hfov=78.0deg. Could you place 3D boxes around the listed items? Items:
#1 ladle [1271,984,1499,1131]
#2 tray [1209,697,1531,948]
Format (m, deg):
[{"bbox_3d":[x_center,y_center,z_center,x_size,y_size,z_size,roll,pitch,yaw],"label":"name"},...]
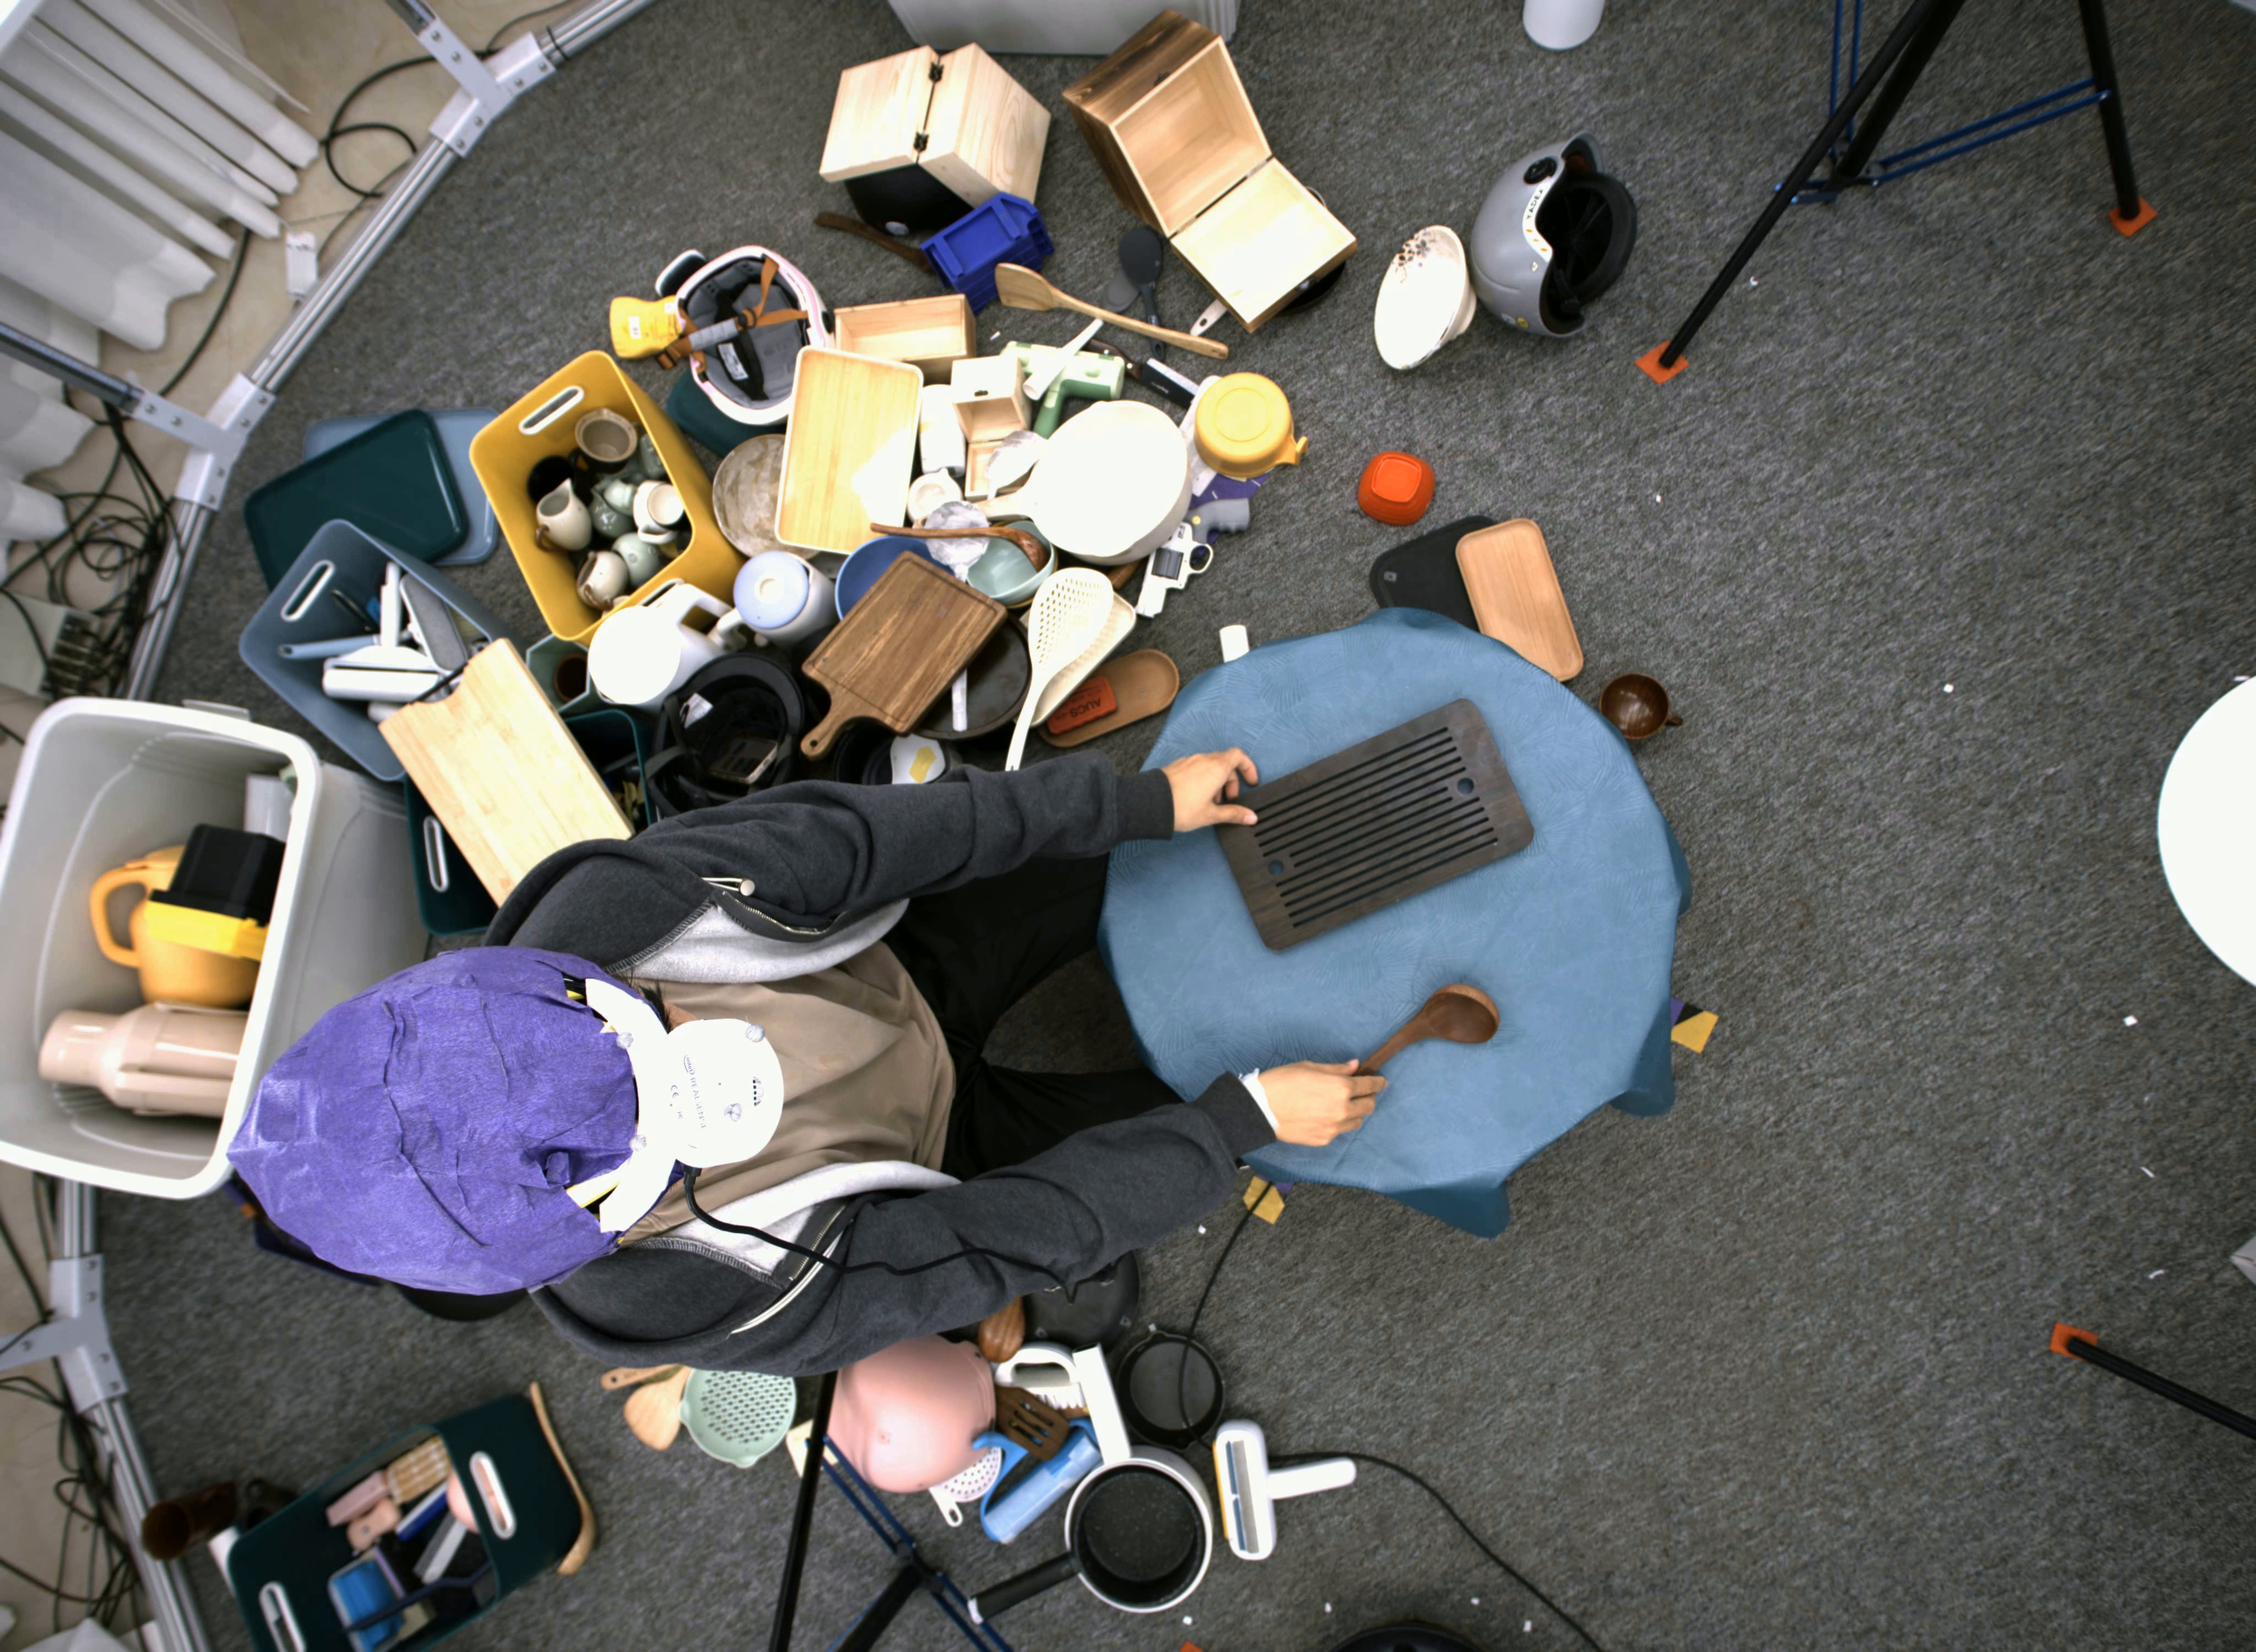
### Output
[{"bbox_3d":[0.261,0.246,1.420,0.261,0.064,0.077,-35,107,6],"label":"ladle"},{"bbox_3d":[0.253,-0.004,1.456,0.308,0.018,0.169,-23,84,8],"label":"tray"}]
